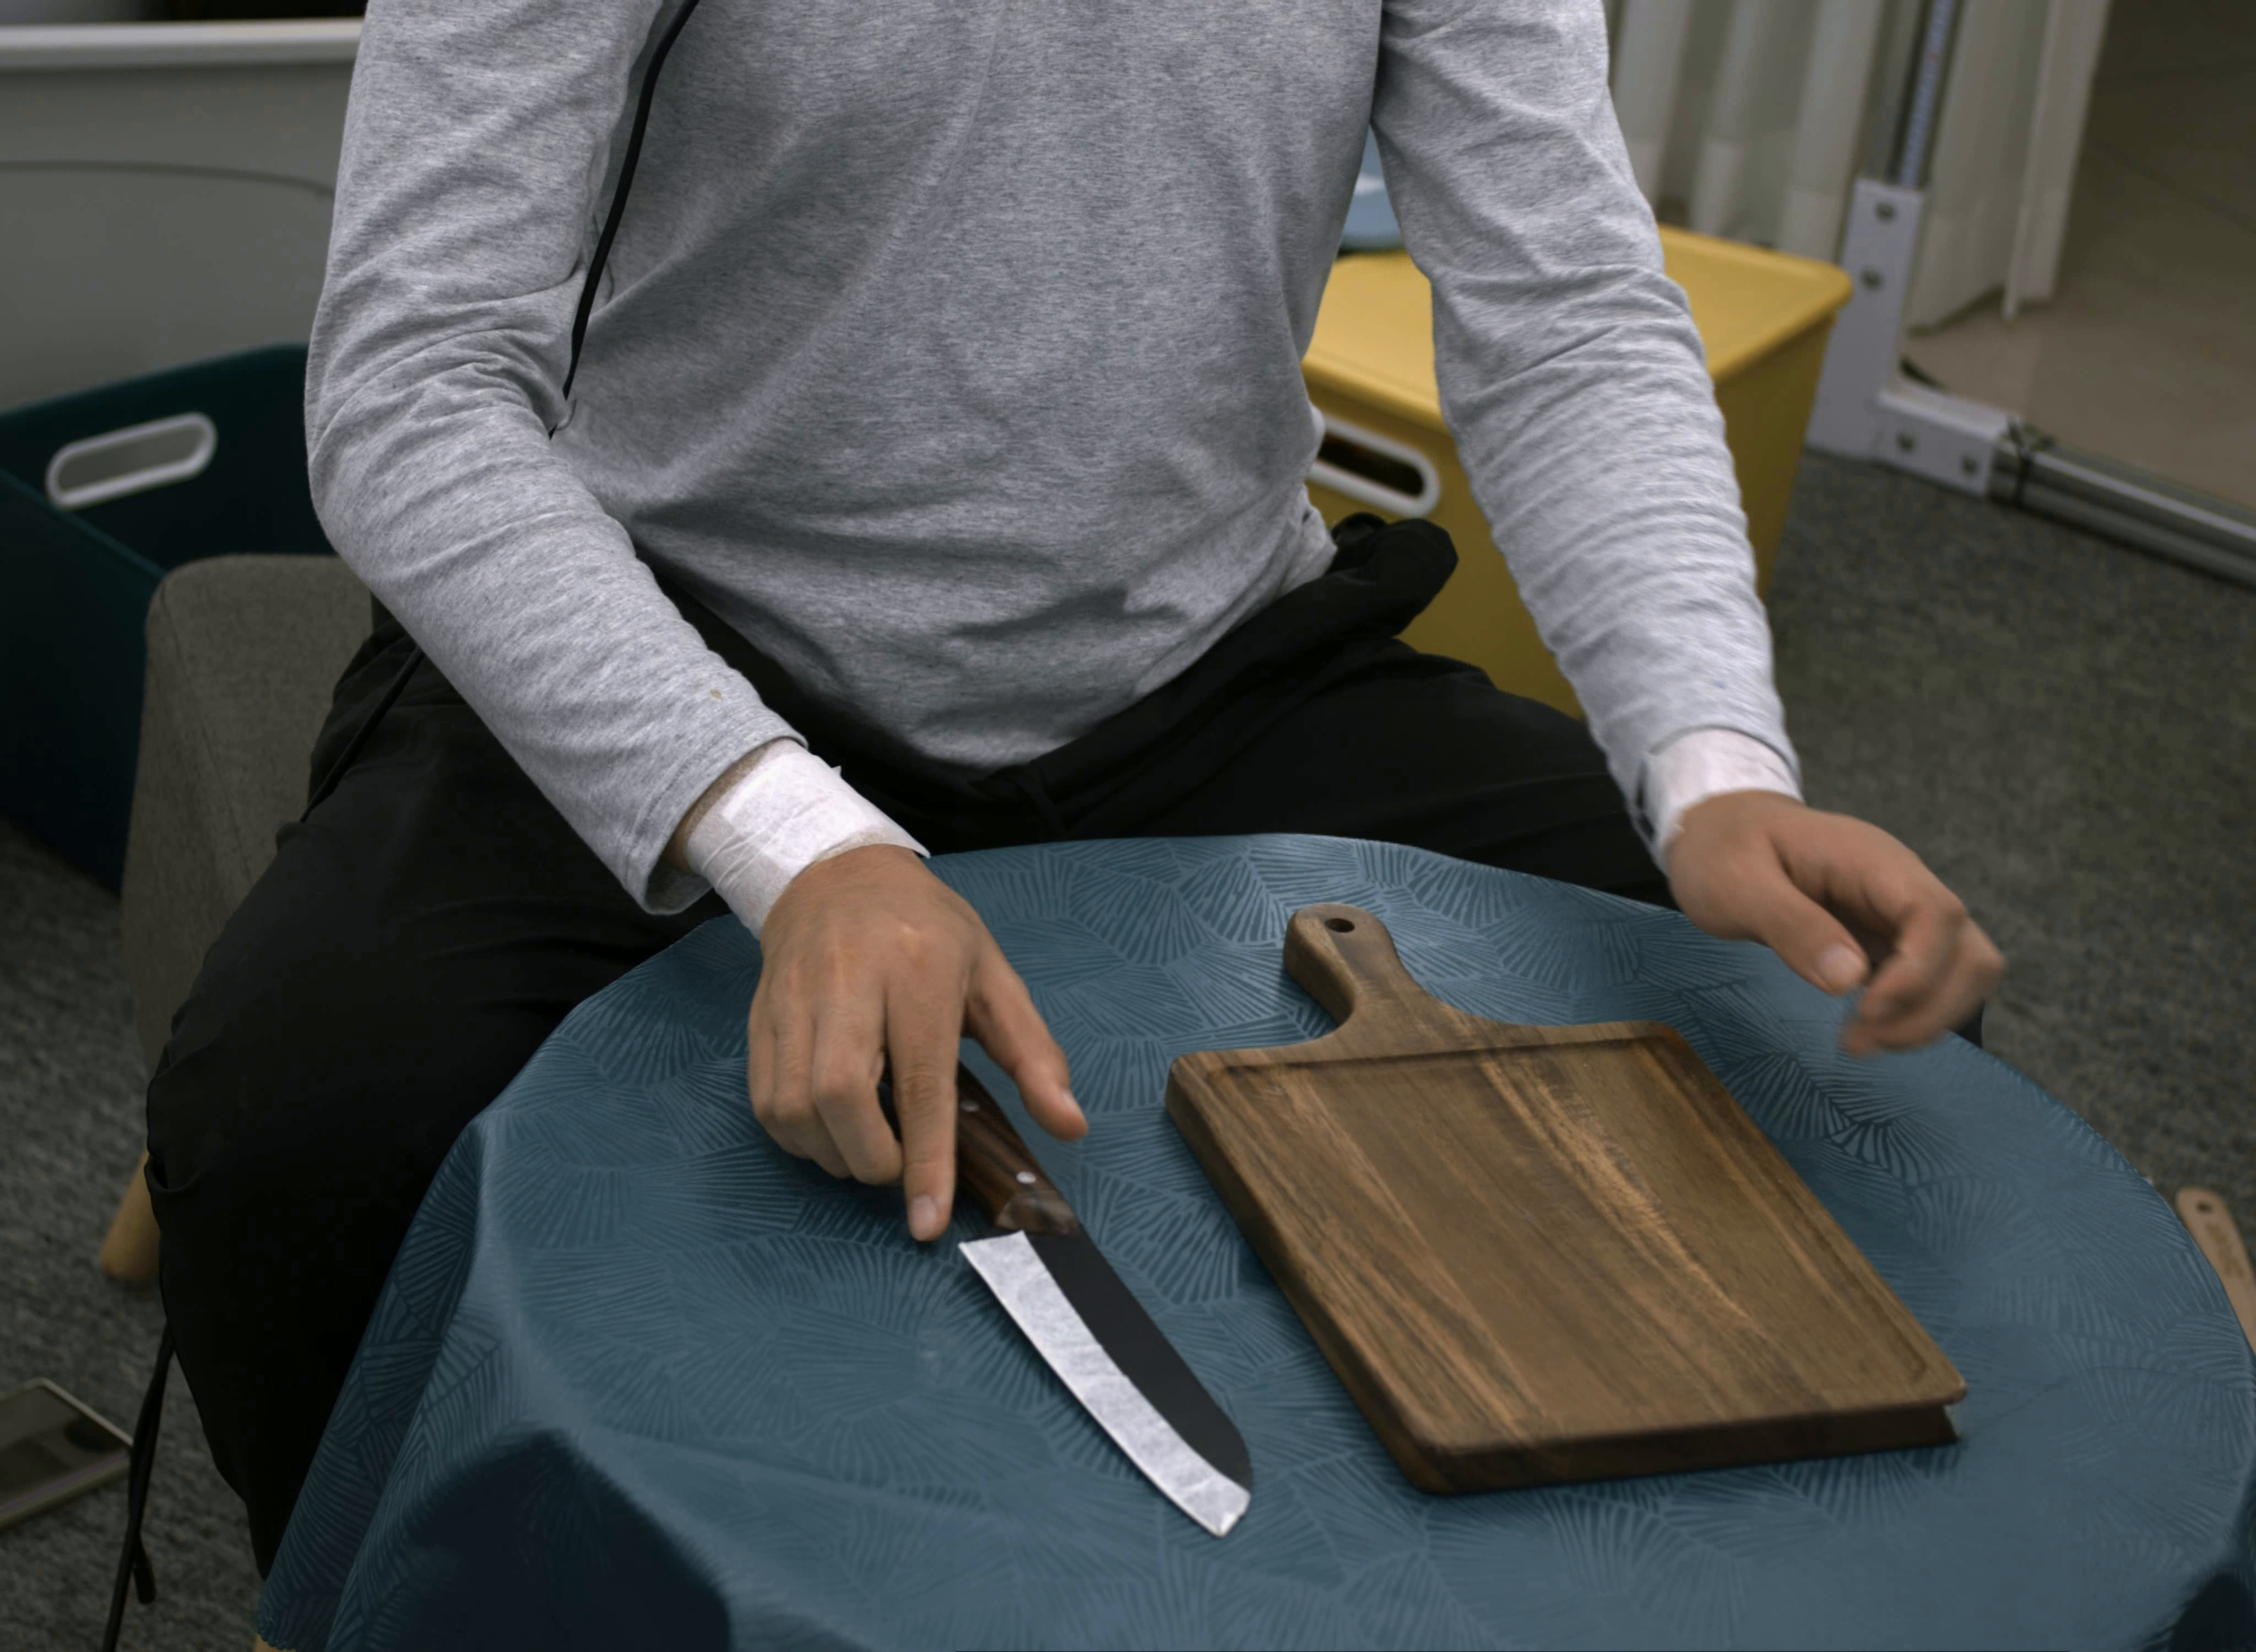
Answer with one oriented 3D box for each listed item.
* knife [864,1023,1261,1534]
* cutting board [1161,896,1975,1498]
[{"bbox_3d":[-0.025,0.146,1.739,0.050,0.020,0.292,-8,32,-22],"label":"knife"},{"bbox_3d":[0.127,0.116,1.827,0.200,0.023,0.355,-3,28,-19],"label":"cutting board"}]
